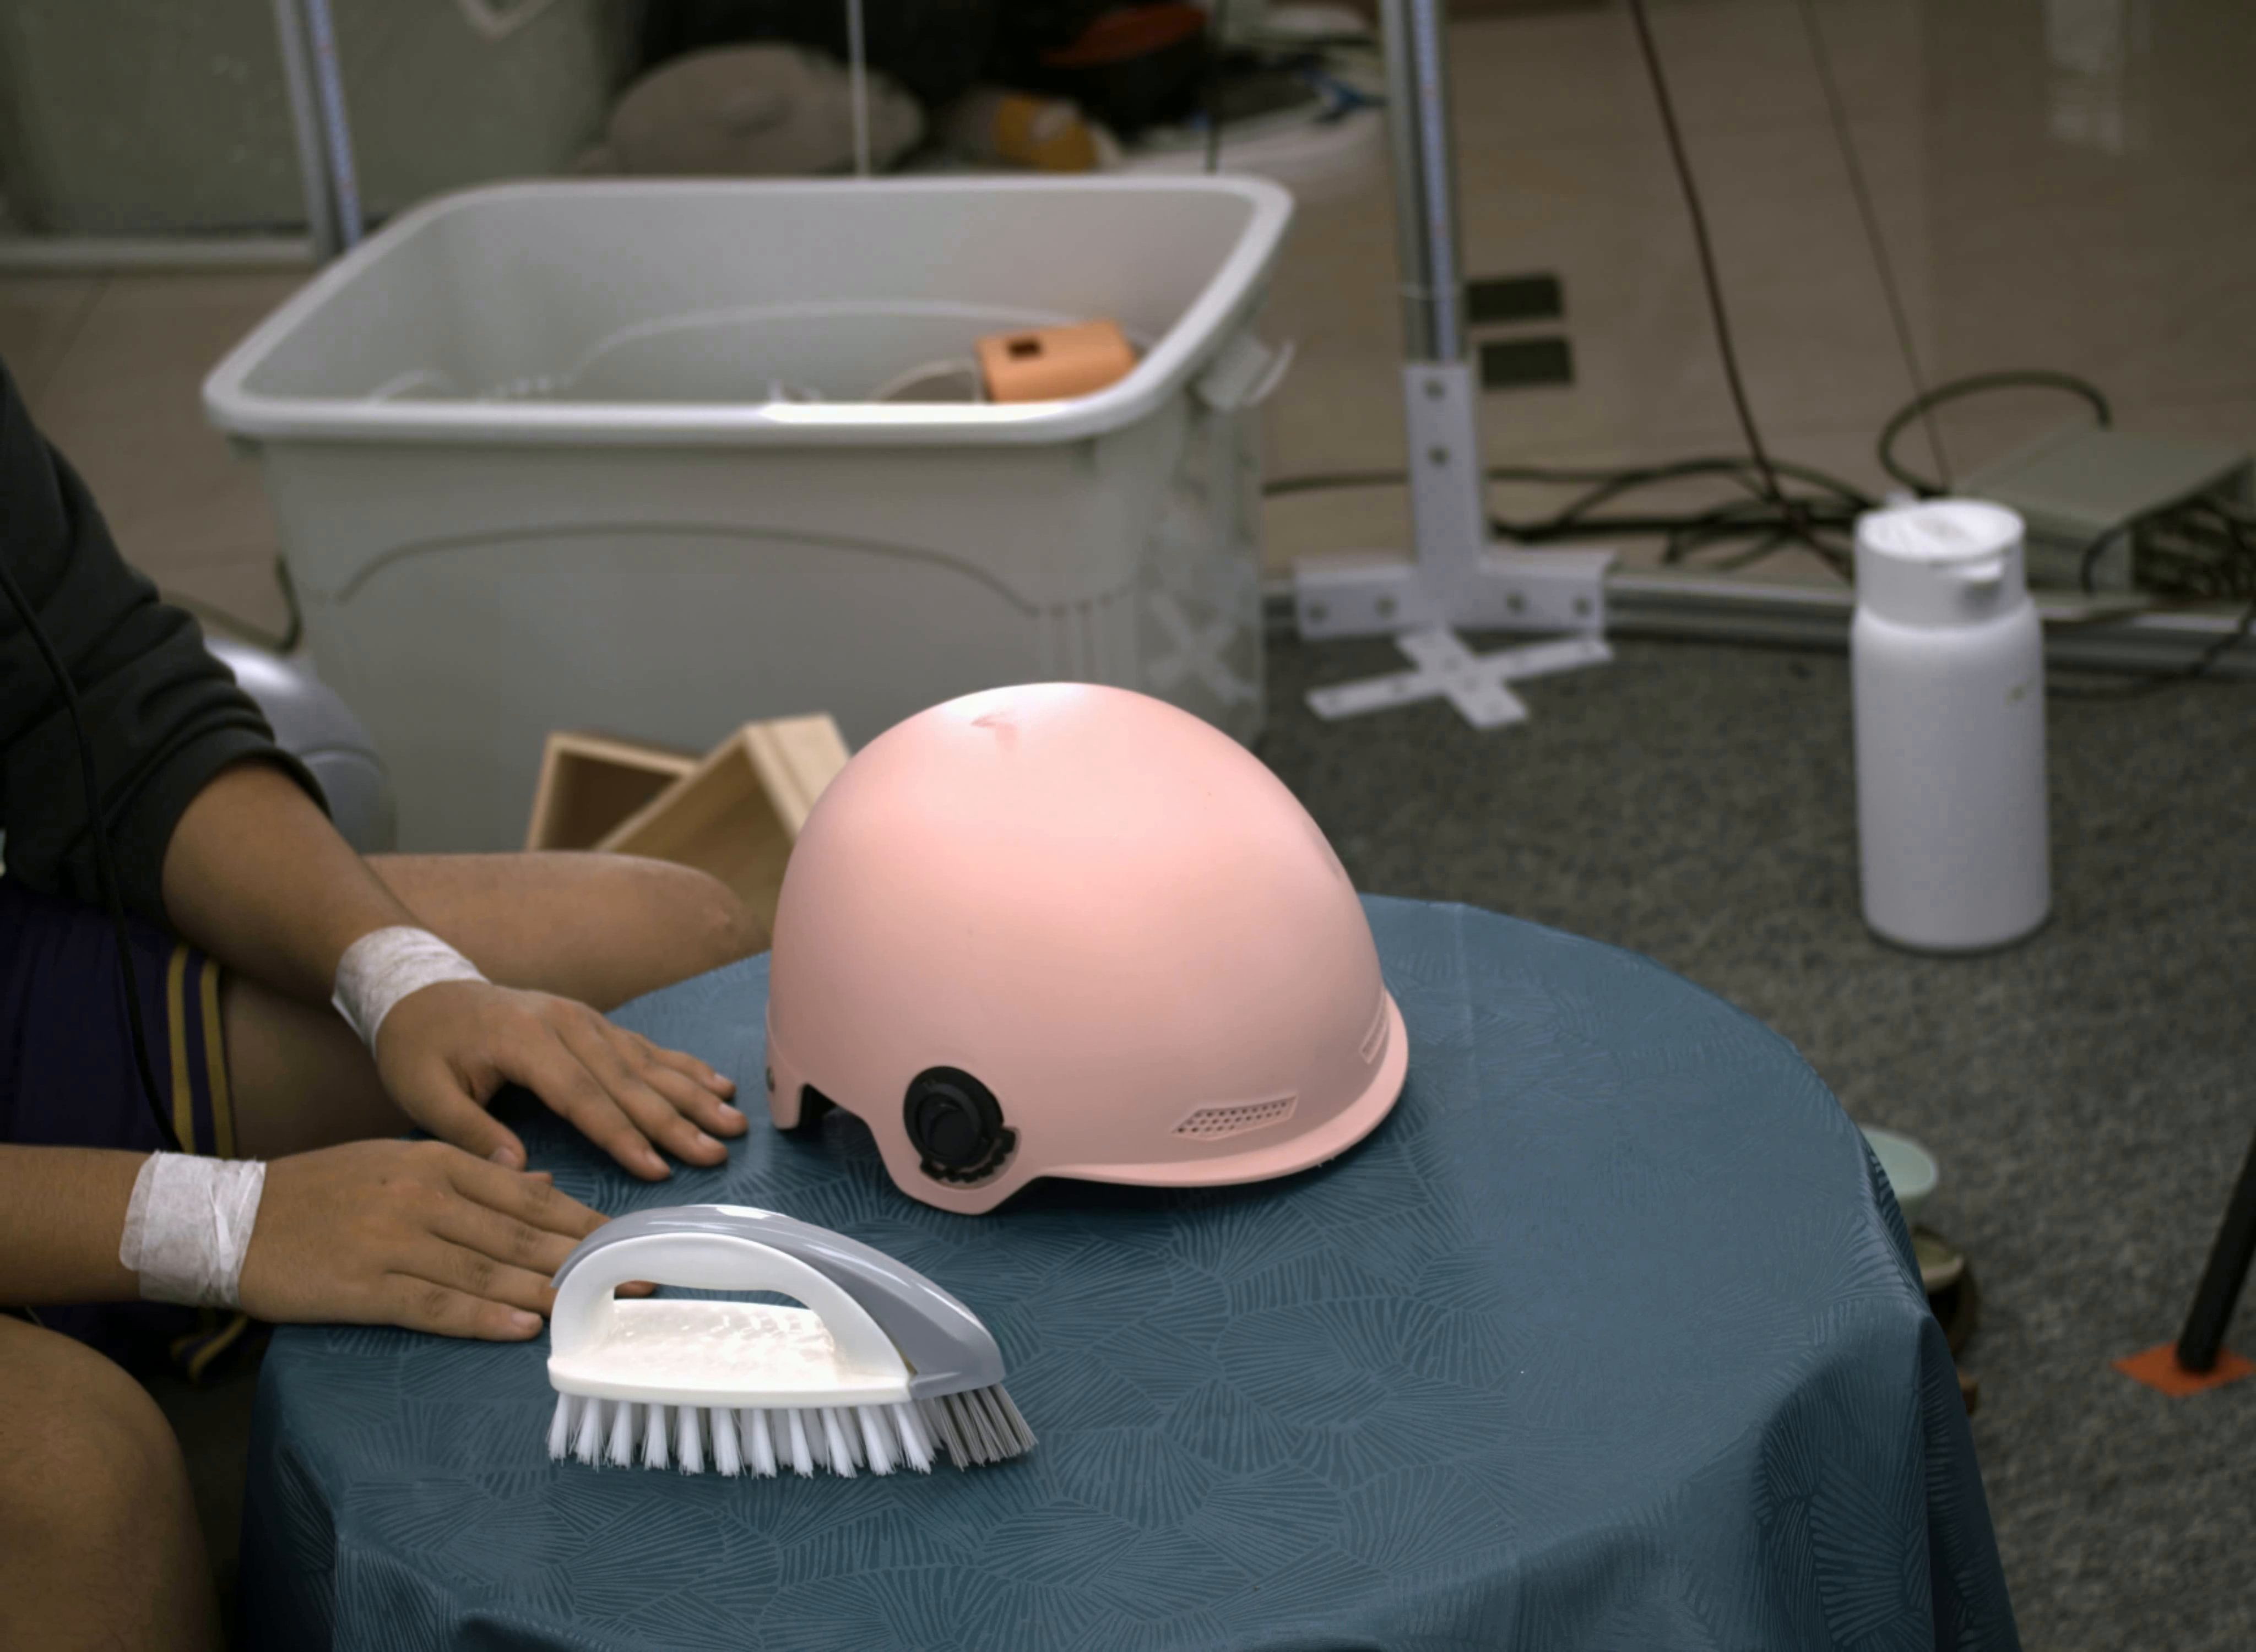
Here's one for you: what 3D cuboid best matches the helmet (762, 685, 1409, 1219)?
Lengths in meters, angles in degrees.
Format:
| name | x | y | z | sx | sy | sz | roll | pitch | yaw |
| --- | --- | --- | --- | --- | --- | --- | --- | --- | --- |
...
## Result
| name | x | y | z | sx | sy | sz | roll | pitch | yaw |
| --- | --- | --- | --- | --- | --- | --- | --- | --- | --- |
| helmet | -0.020 | 0.034 | 2.196 | 0.264 | 0.161 | 0.232 | 18 | 34 | 35 |

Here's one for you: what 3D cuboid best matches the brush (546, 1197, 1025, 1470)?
| name | x | y | z | sx | sy | sz | roll | pitch | yaw |
| --- | --- | --- | --- | --- | --- | --- | --- | --- | --- |
| brush | -0.122 | 0.175 | 1.991 | 0.175 | 0.096 | 0.060 | 4 | 29 | 18 |
